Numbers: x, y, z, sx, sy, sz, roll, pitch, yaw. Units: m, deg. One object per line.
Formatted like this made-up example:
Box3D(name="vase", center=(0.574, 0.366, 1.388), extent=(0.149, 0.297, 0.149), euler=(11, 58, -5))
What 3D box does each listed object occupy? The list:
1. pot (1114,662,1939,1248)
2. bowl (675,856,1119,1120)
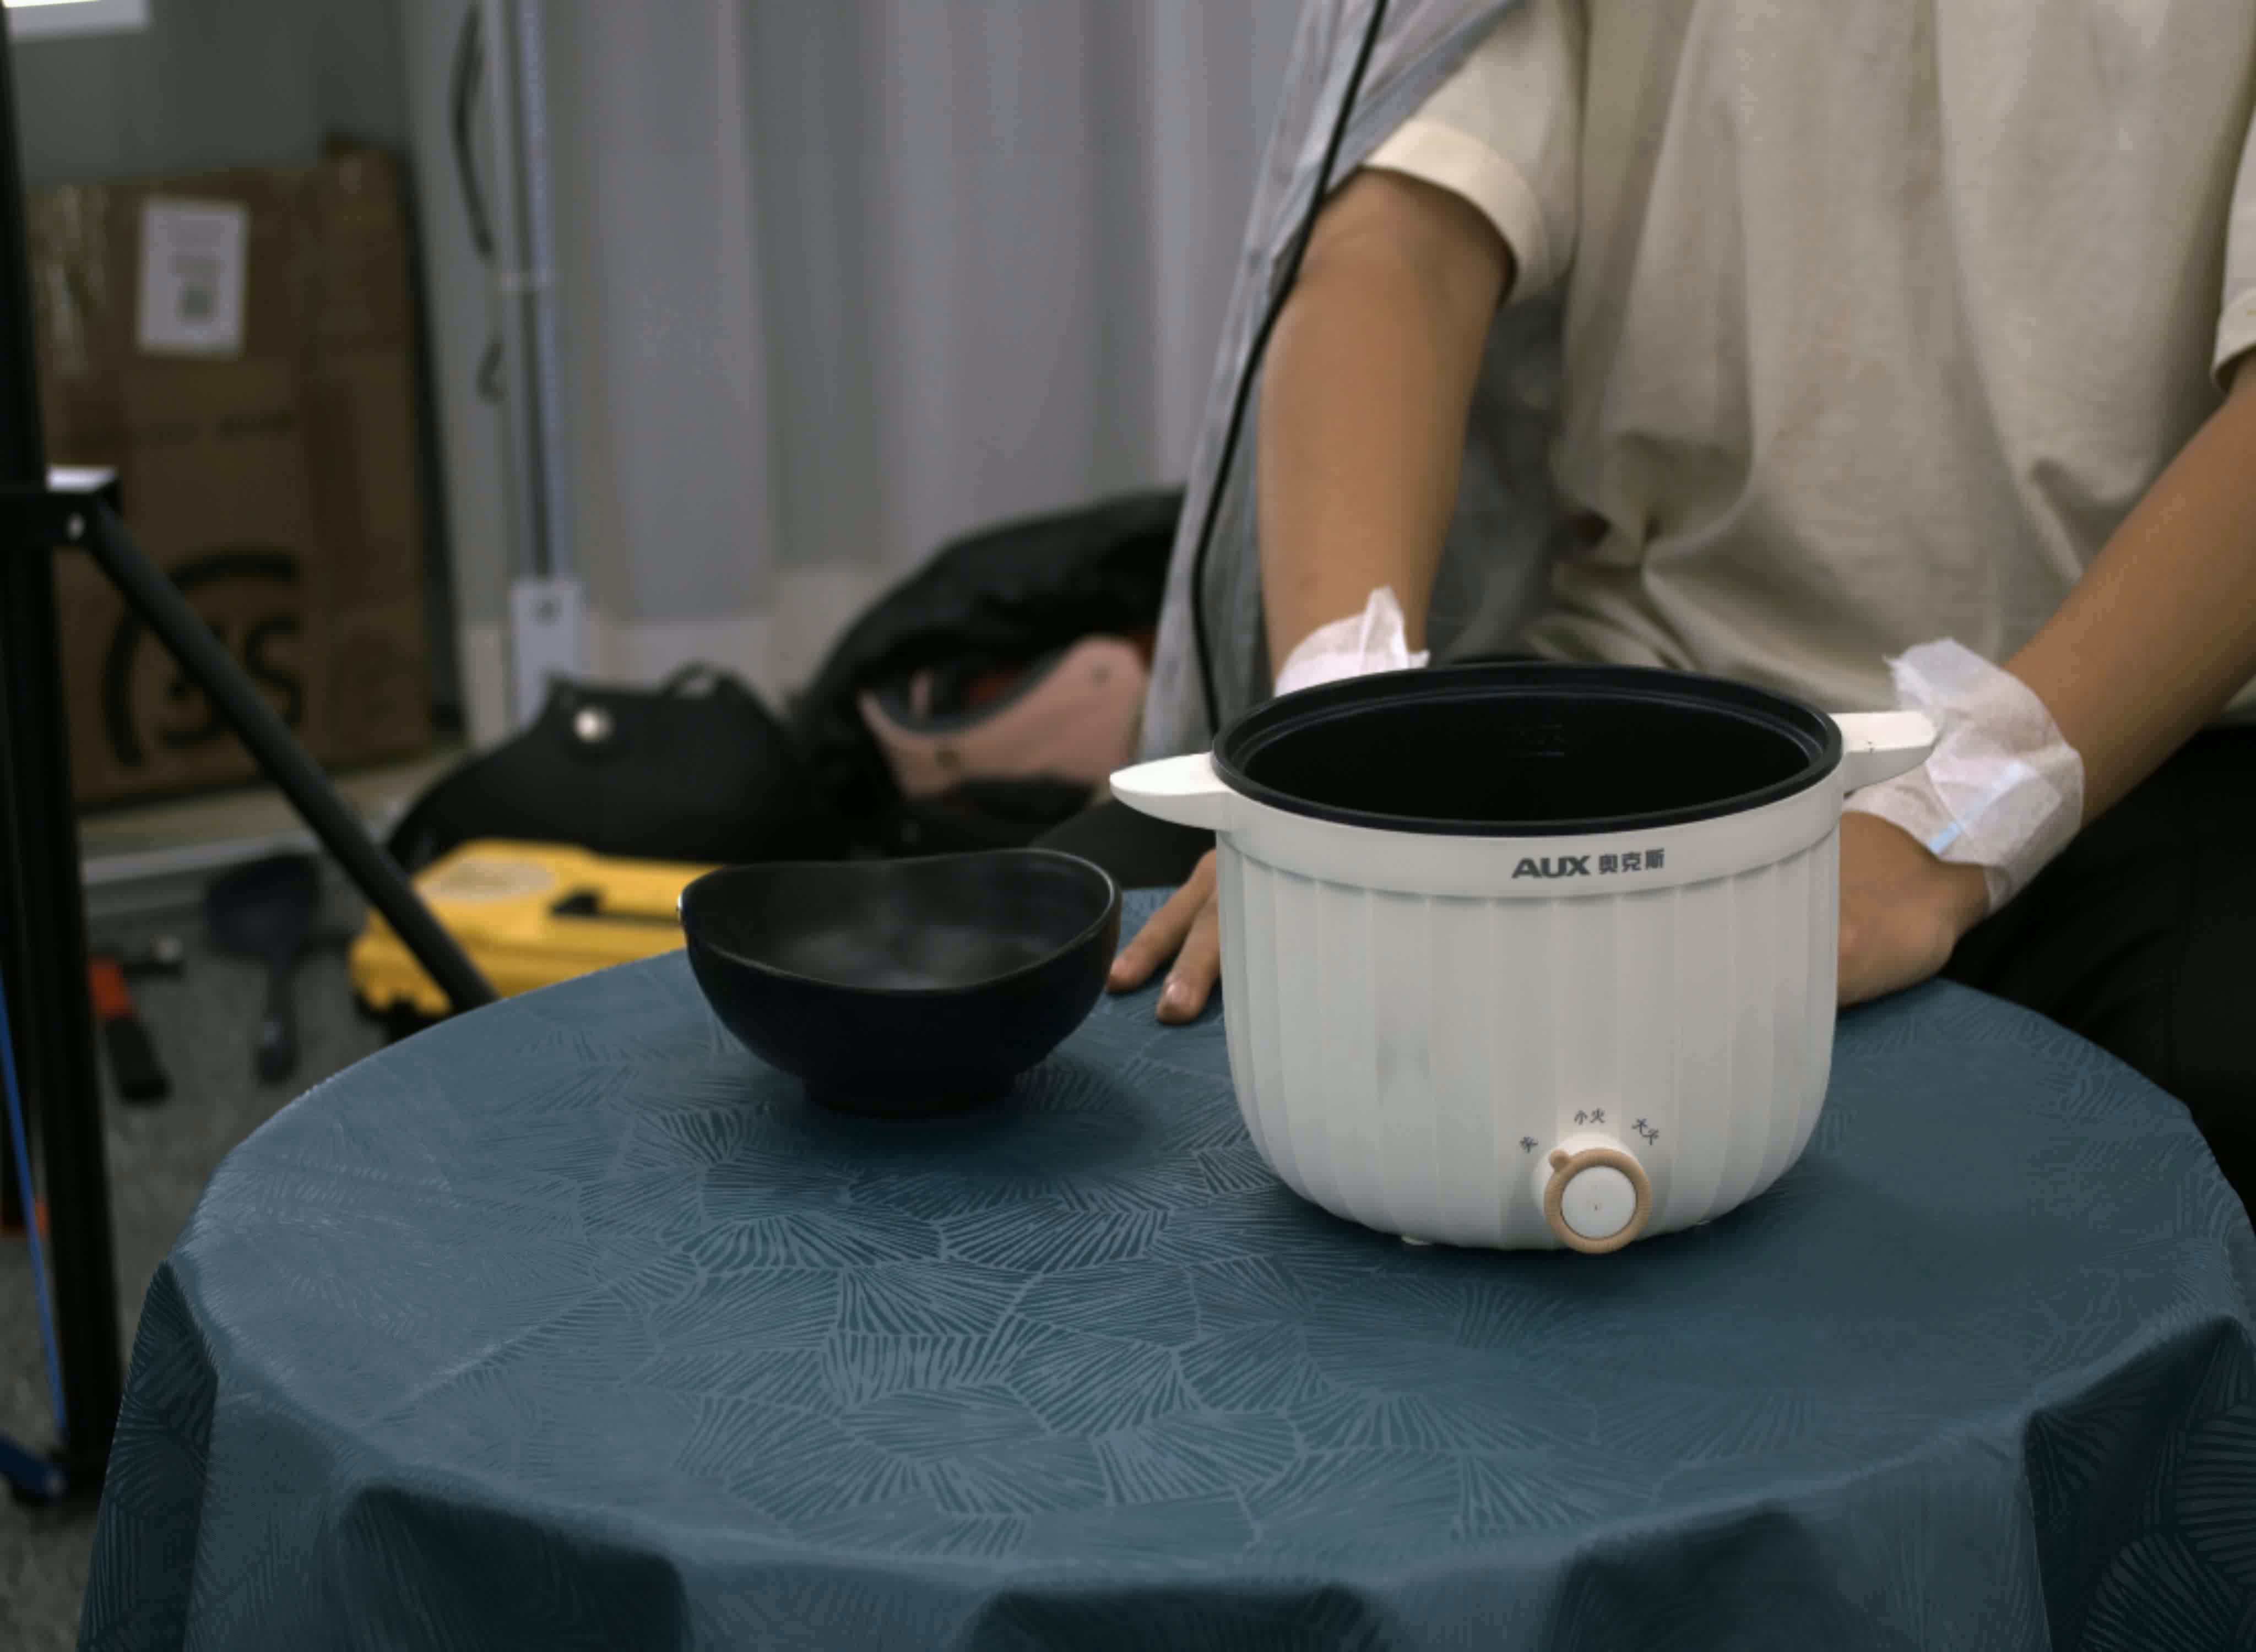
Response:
Box3D(name="pot", center=(0.118, 0.040, 1.524), extent=(0.238, 0.143, 0.192), euler=(-4, 12, -5))
Box3D(name="bowl", center=(-0.071, 0.051, 1.653), extent=(0.136, 0.067, 0.172), euler=(-2, 14, -6))
